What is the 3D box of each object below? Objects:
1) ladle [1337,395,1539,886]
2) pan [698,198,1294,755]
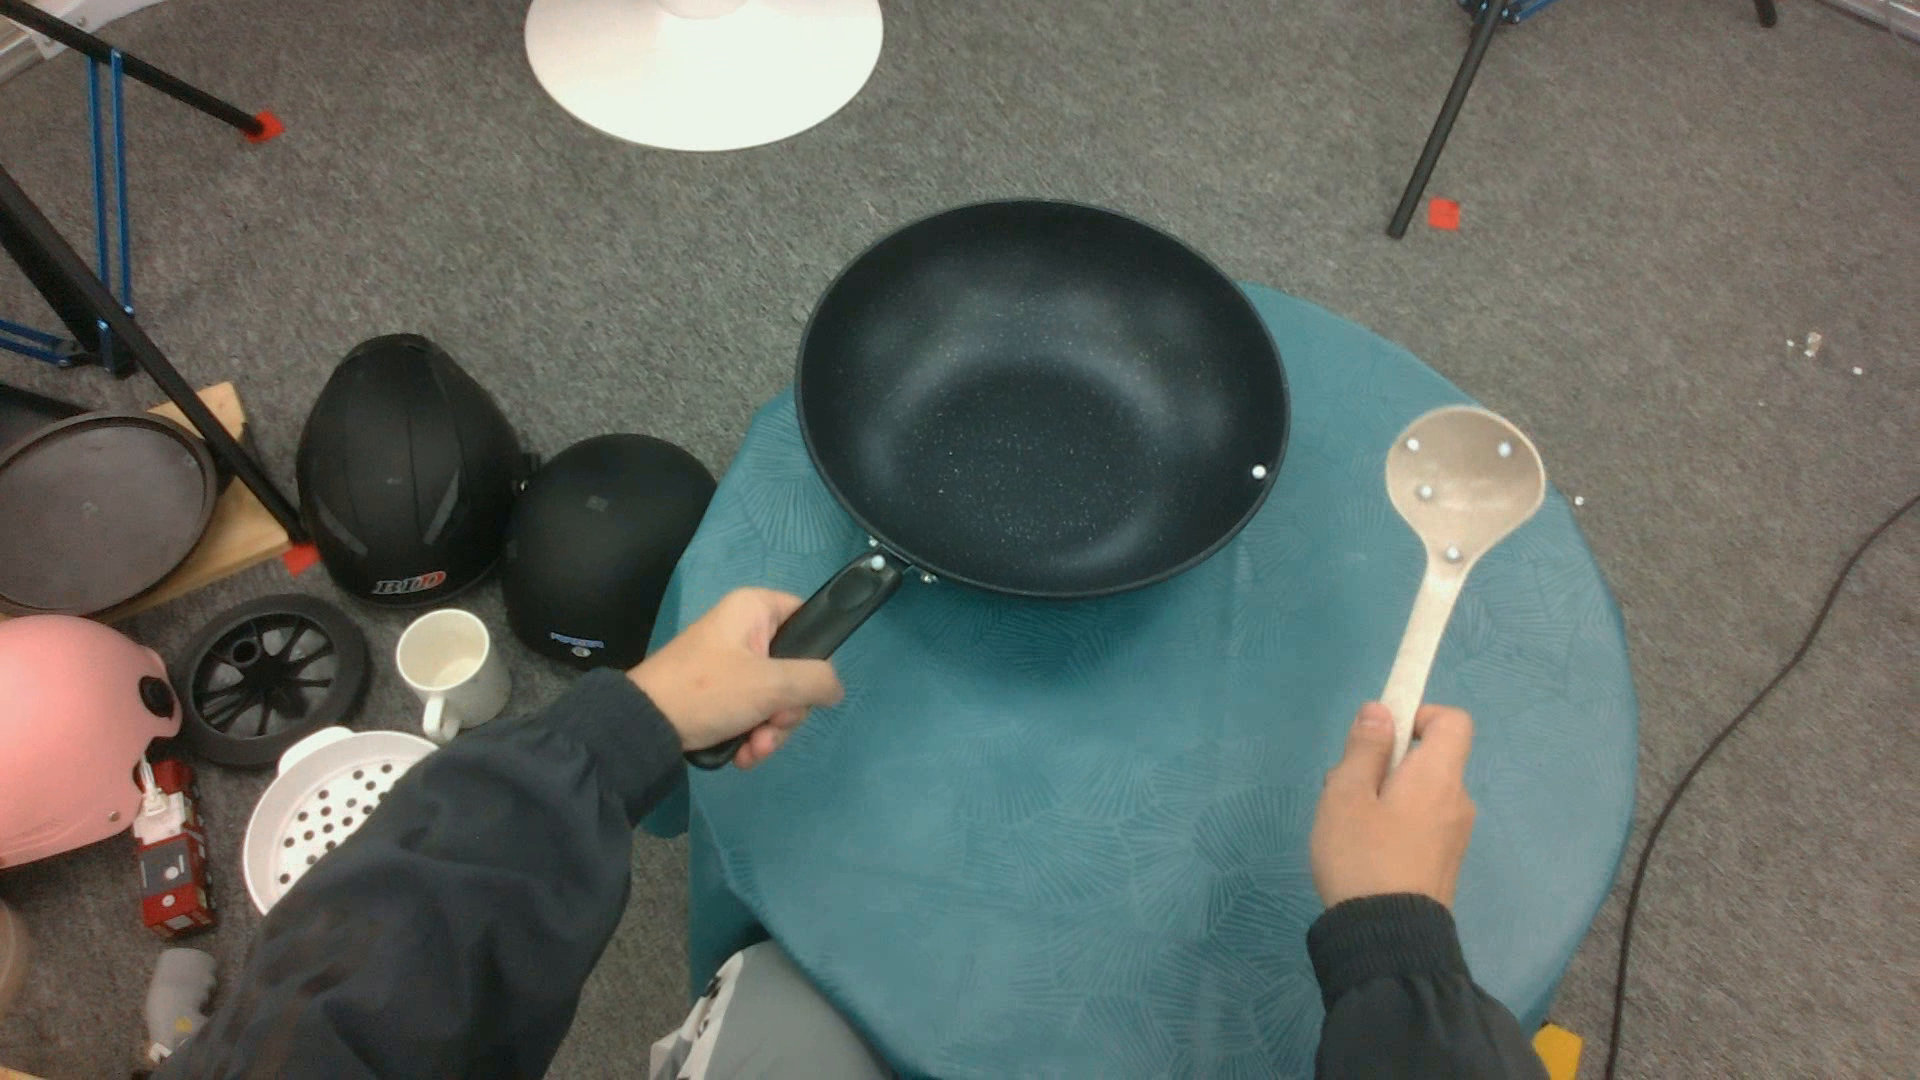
[{"bbox_3d":[0.241,0.047,0.742,0.089,0.069,0.276,7,59,36],"label":"ladle"},{"bbox_3d":[0.008,-0.032,0.855,0.310,0.111,0.479,31,62,17],"label":"pan"}]
